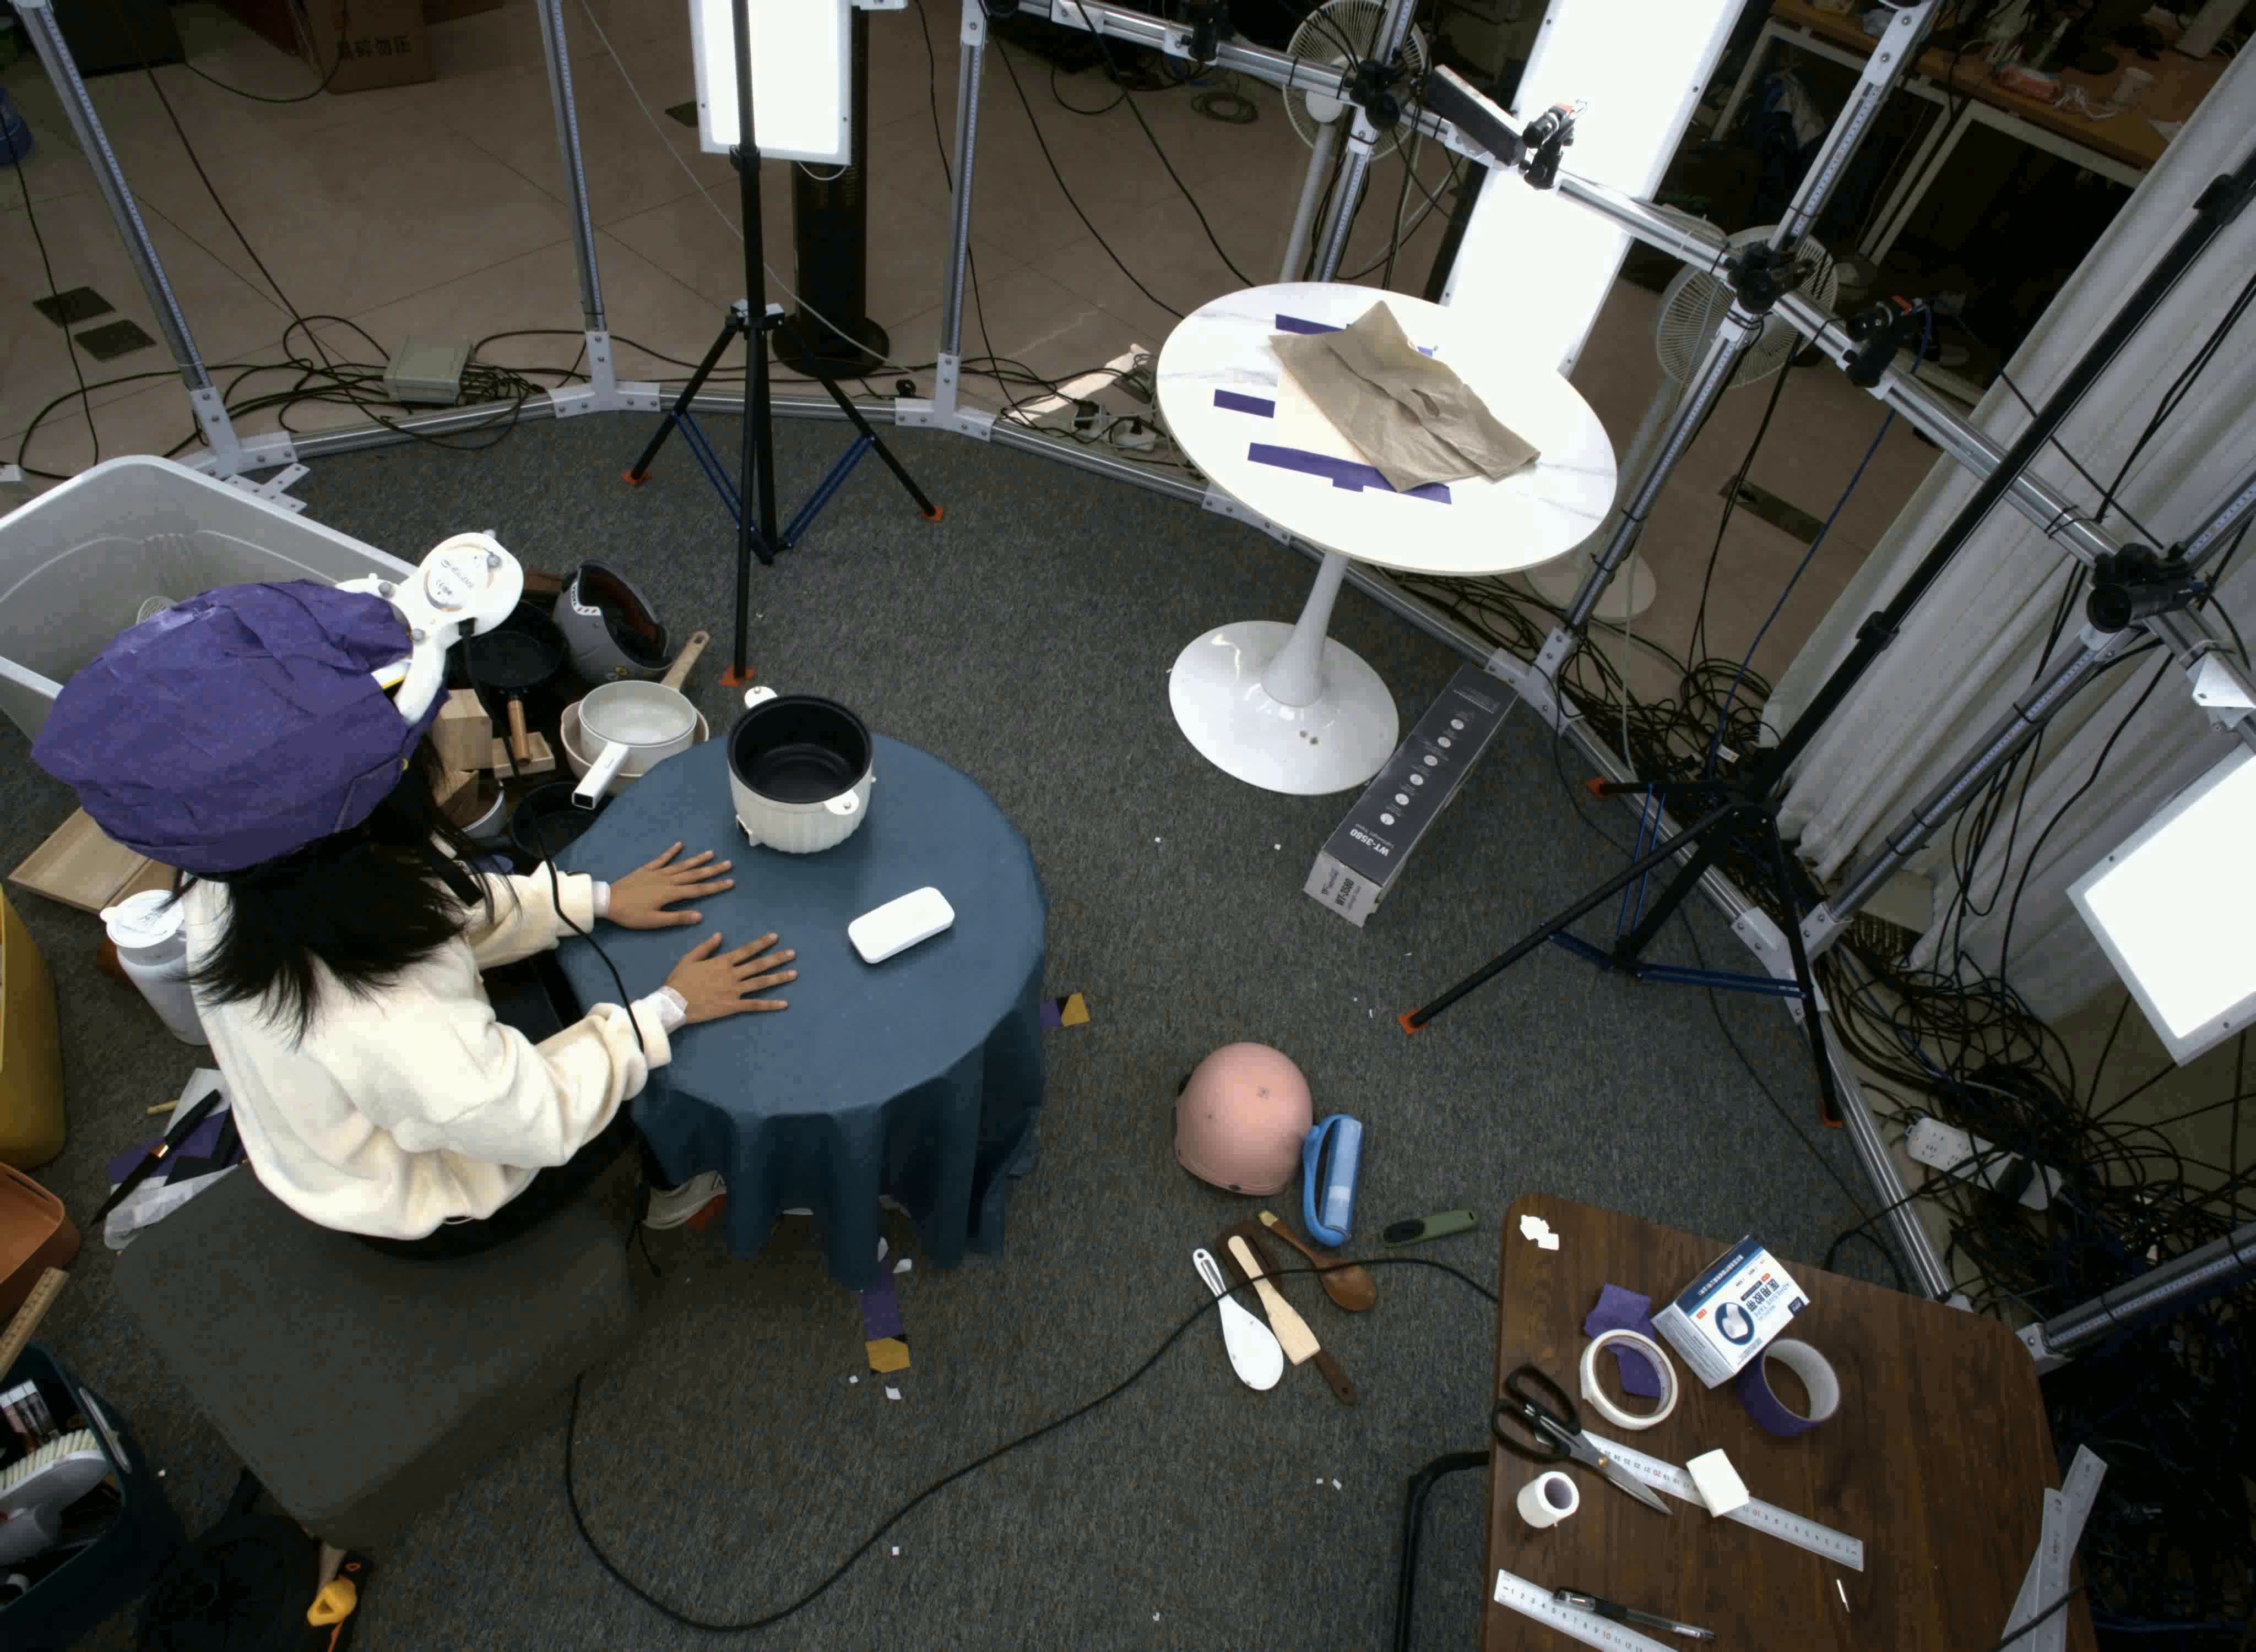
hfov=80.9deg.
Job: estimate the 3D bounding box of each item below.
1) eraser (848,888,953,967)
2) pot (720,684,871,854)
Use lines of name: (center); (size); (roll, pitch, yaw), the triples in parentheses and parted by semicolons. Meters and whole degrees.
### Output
eraser: (-0.287, 0.124, 1.643); (0.132, 0.035, 0.062); (-26, 61, -30)
pot: (-0.422, -0.066, 1.678); (0.191, 0.145, 0.235); (-32, 67, -28)
